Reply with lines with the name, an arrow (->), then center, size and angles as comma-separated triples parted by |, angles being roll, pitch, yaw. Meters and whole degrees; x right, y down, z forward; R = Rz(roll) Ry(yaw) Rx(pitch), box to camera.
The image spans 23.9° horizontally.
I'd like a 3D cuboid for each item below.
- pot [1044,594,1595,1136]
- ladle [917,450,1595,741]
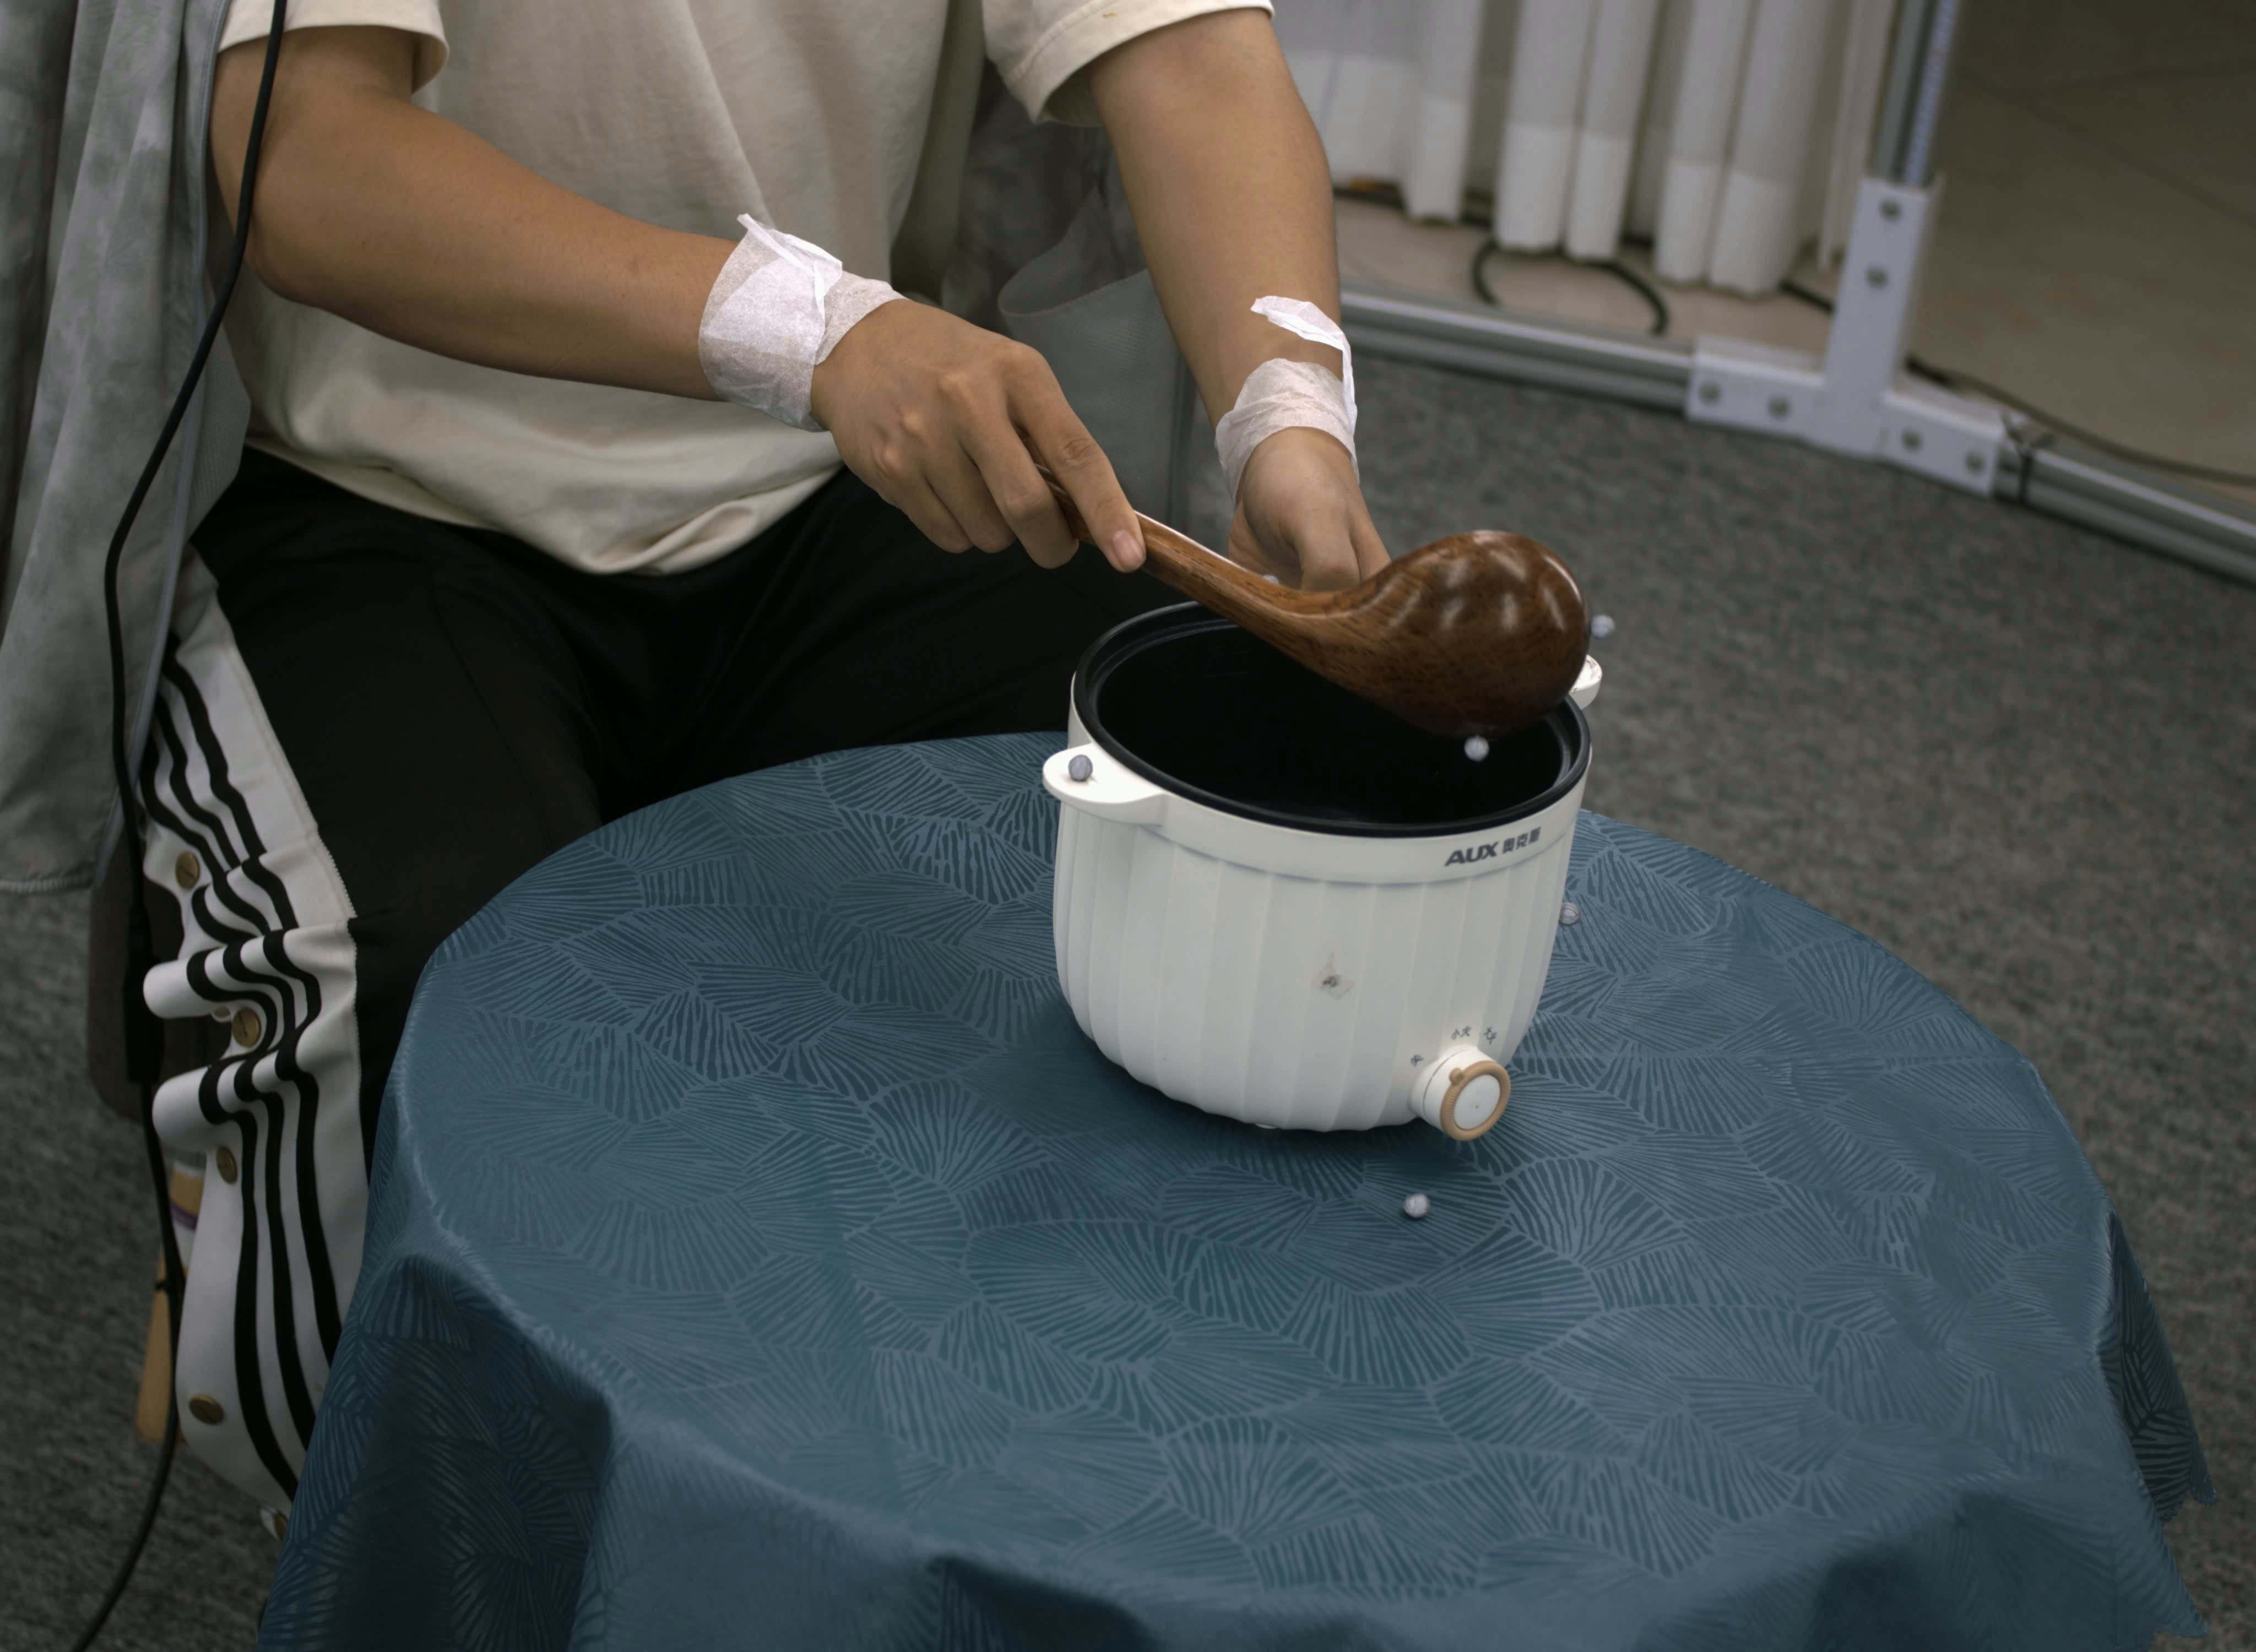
pot -> 0.068, 0.019, 1.872 | 0.239, 0.142, 0.192 | -16, 31, -35
ladle -> 0.045, -0.100, 1.886 | 0.076, 0.081, 0.276 | -29, 39, -36
